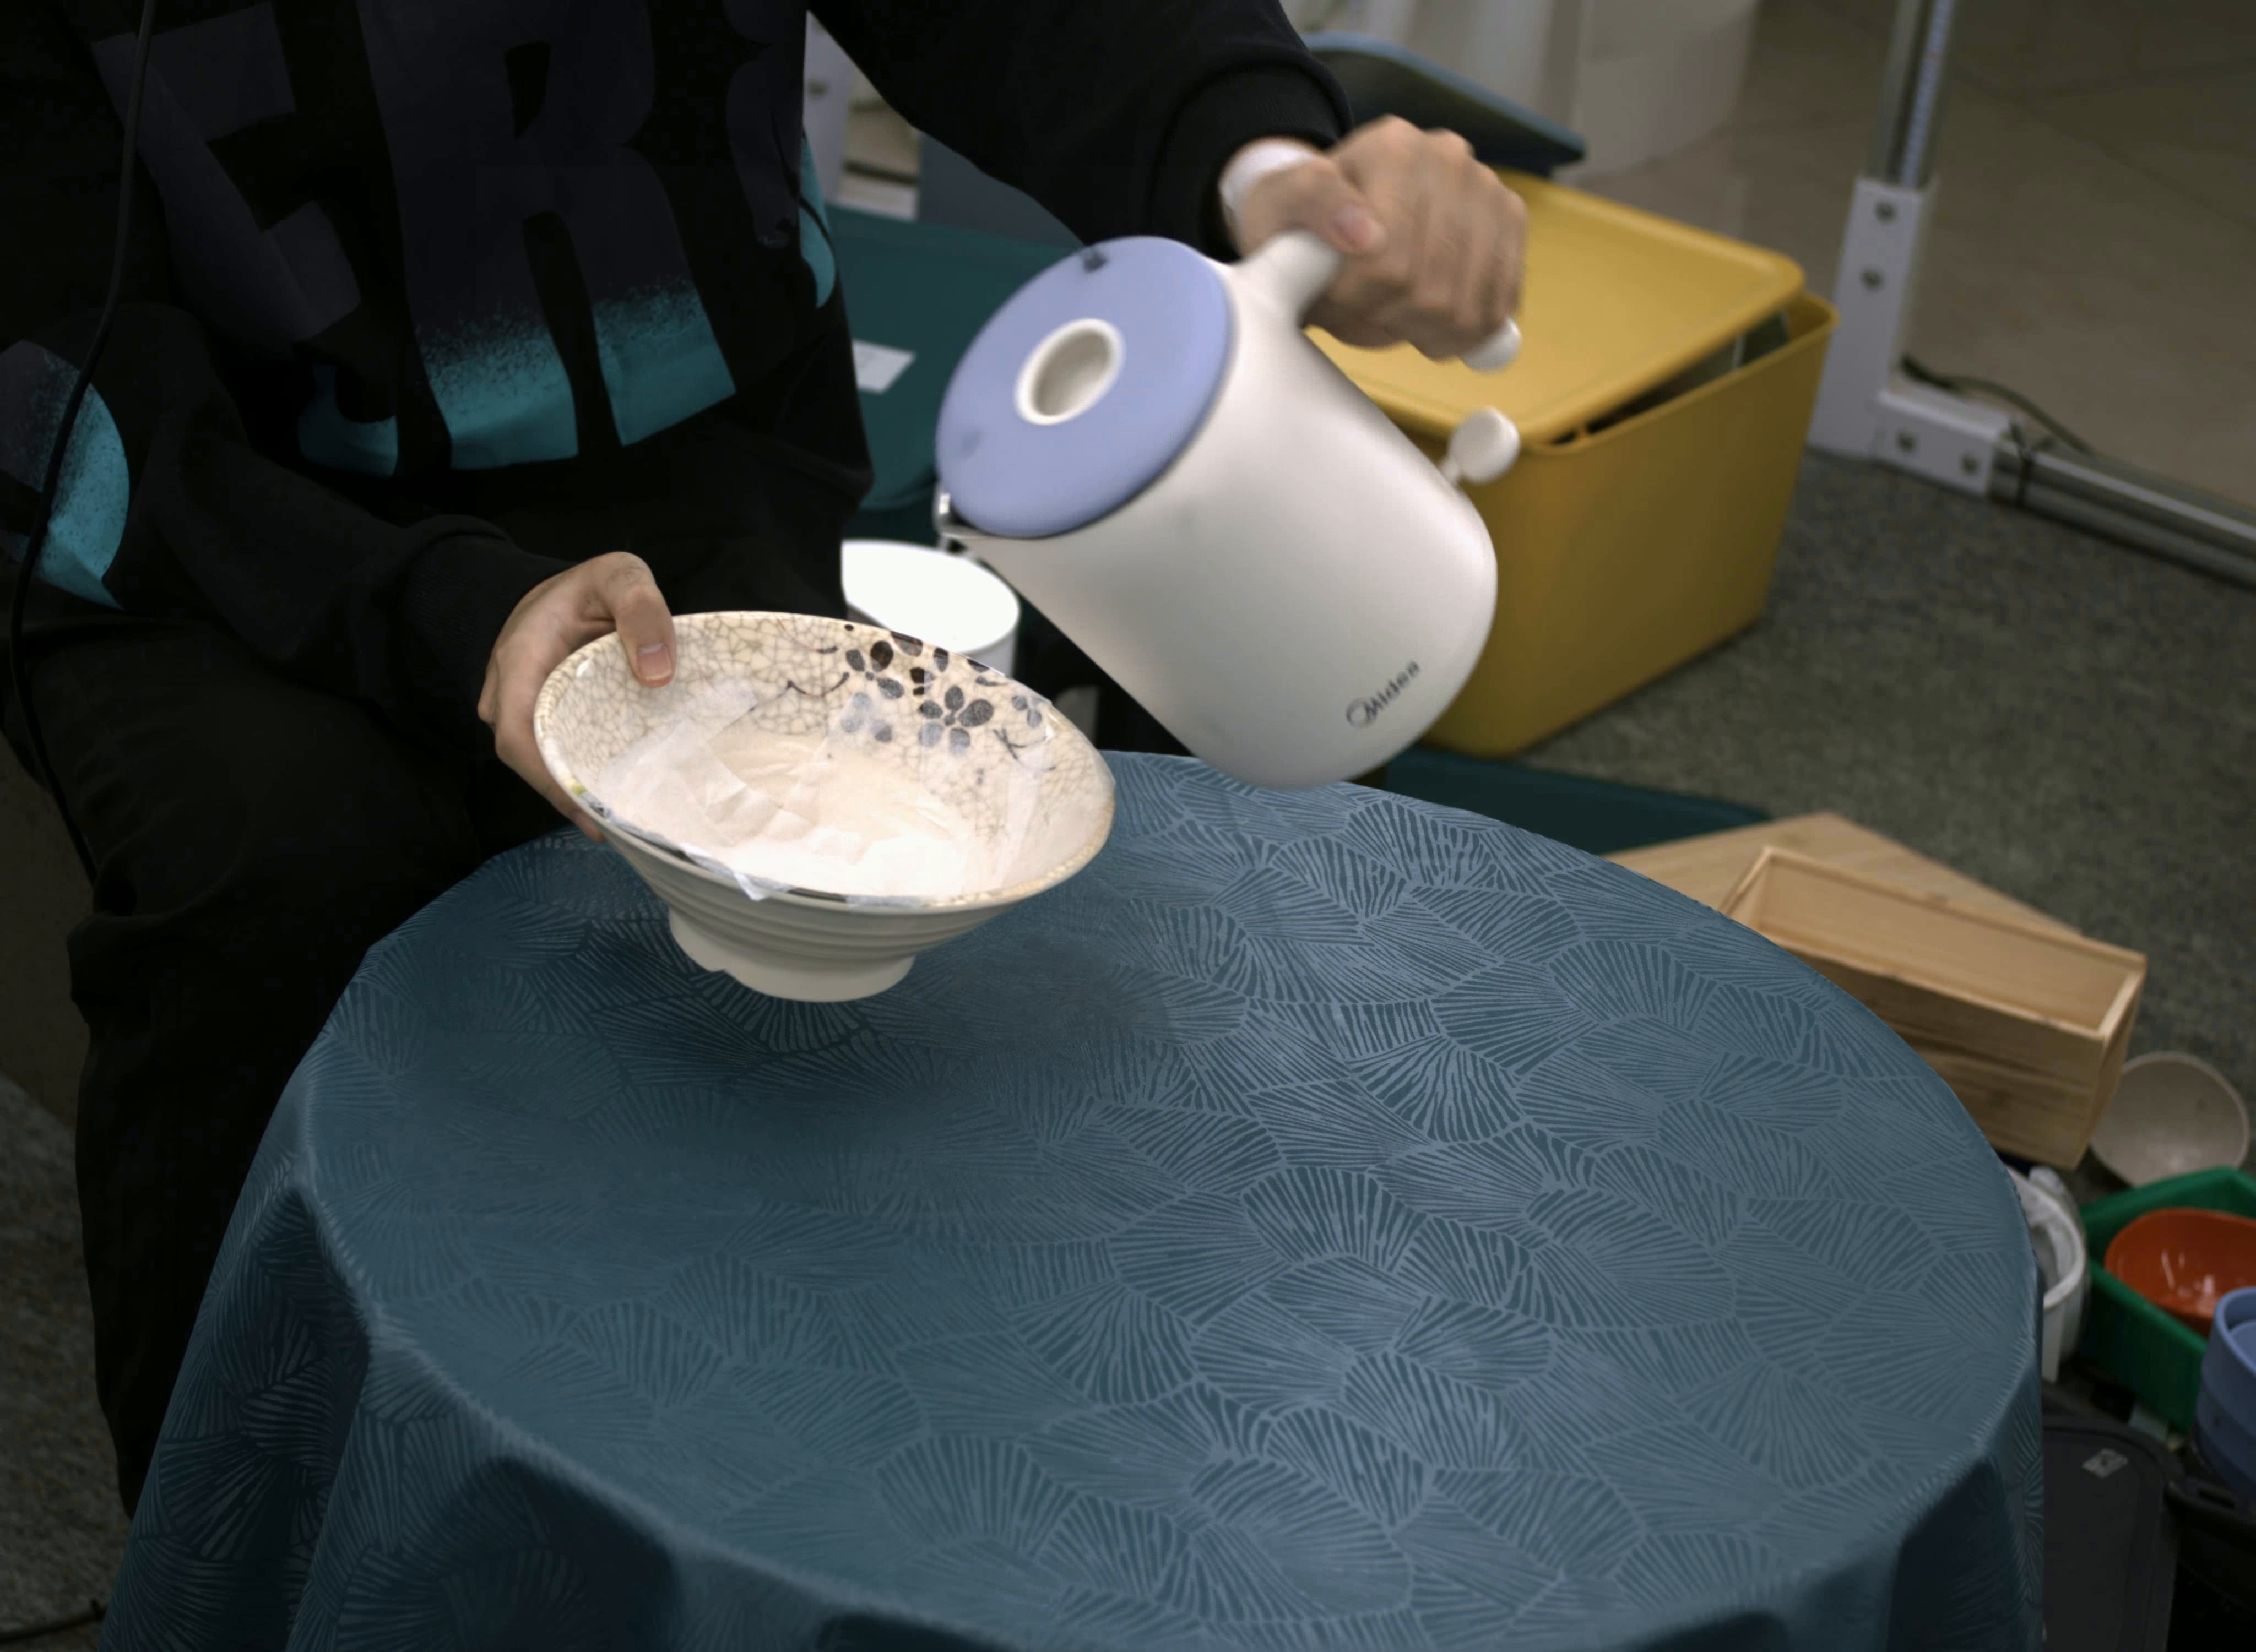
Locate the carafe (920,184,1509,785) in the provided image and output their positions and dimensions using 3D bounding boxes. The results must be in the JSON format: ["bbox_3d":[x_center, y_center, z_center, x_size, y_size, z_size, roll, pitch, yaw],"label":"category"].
[{"bbox_3d":[0.044,-0.126,1.816,0.181,0.191,0.133,43,5,-42],"label":"carafe"}]

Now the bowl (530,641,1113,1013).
[{"bbox_3d":[-0.111,0.011,1.847,0.203,0.078,0.205,9,23,-4],"label":"bowl"}]
